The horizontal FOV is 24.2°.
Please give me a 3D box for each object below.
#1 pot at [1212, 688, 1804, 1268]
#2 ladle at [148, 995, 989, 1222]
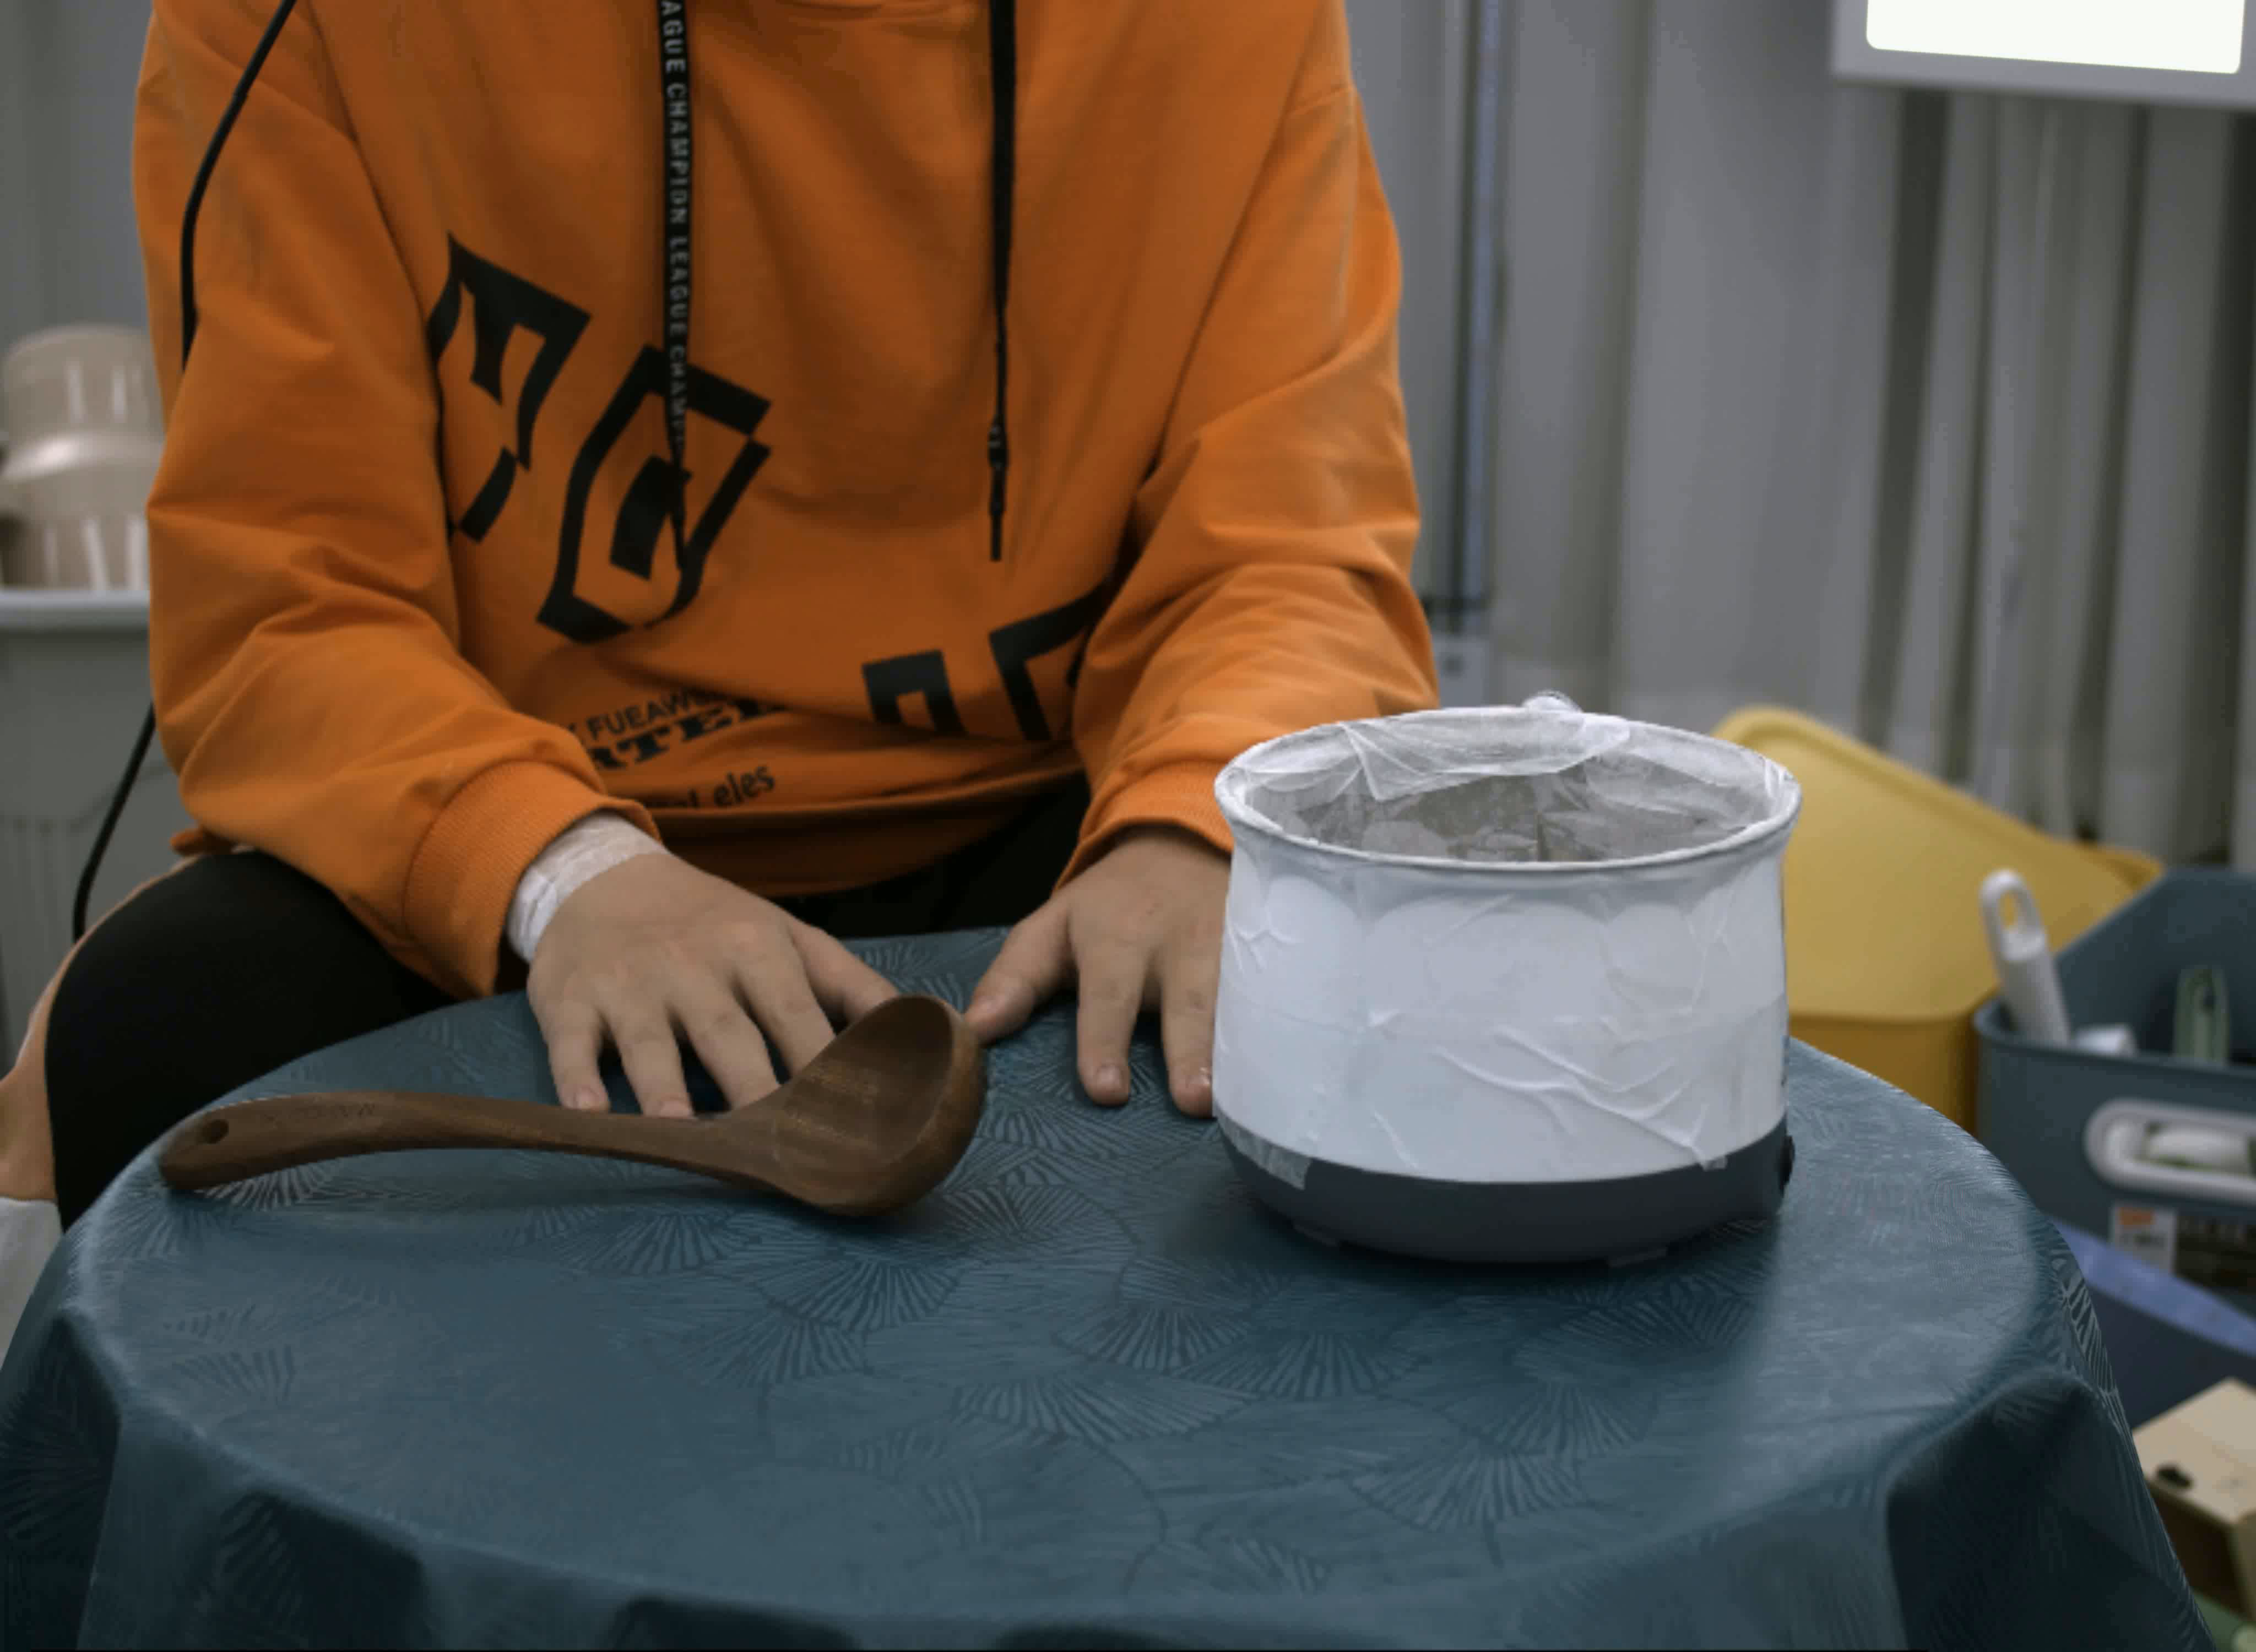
[{"bbox_3d":[0.119,0.041,1.625,0.177,0.138,0.233,3,16,9],"label":"pot"},{"bbox_3d":[-0.171,0.086,1.601,0.259,0.066,0.076,1,42,0],"label":"ladle"}]
